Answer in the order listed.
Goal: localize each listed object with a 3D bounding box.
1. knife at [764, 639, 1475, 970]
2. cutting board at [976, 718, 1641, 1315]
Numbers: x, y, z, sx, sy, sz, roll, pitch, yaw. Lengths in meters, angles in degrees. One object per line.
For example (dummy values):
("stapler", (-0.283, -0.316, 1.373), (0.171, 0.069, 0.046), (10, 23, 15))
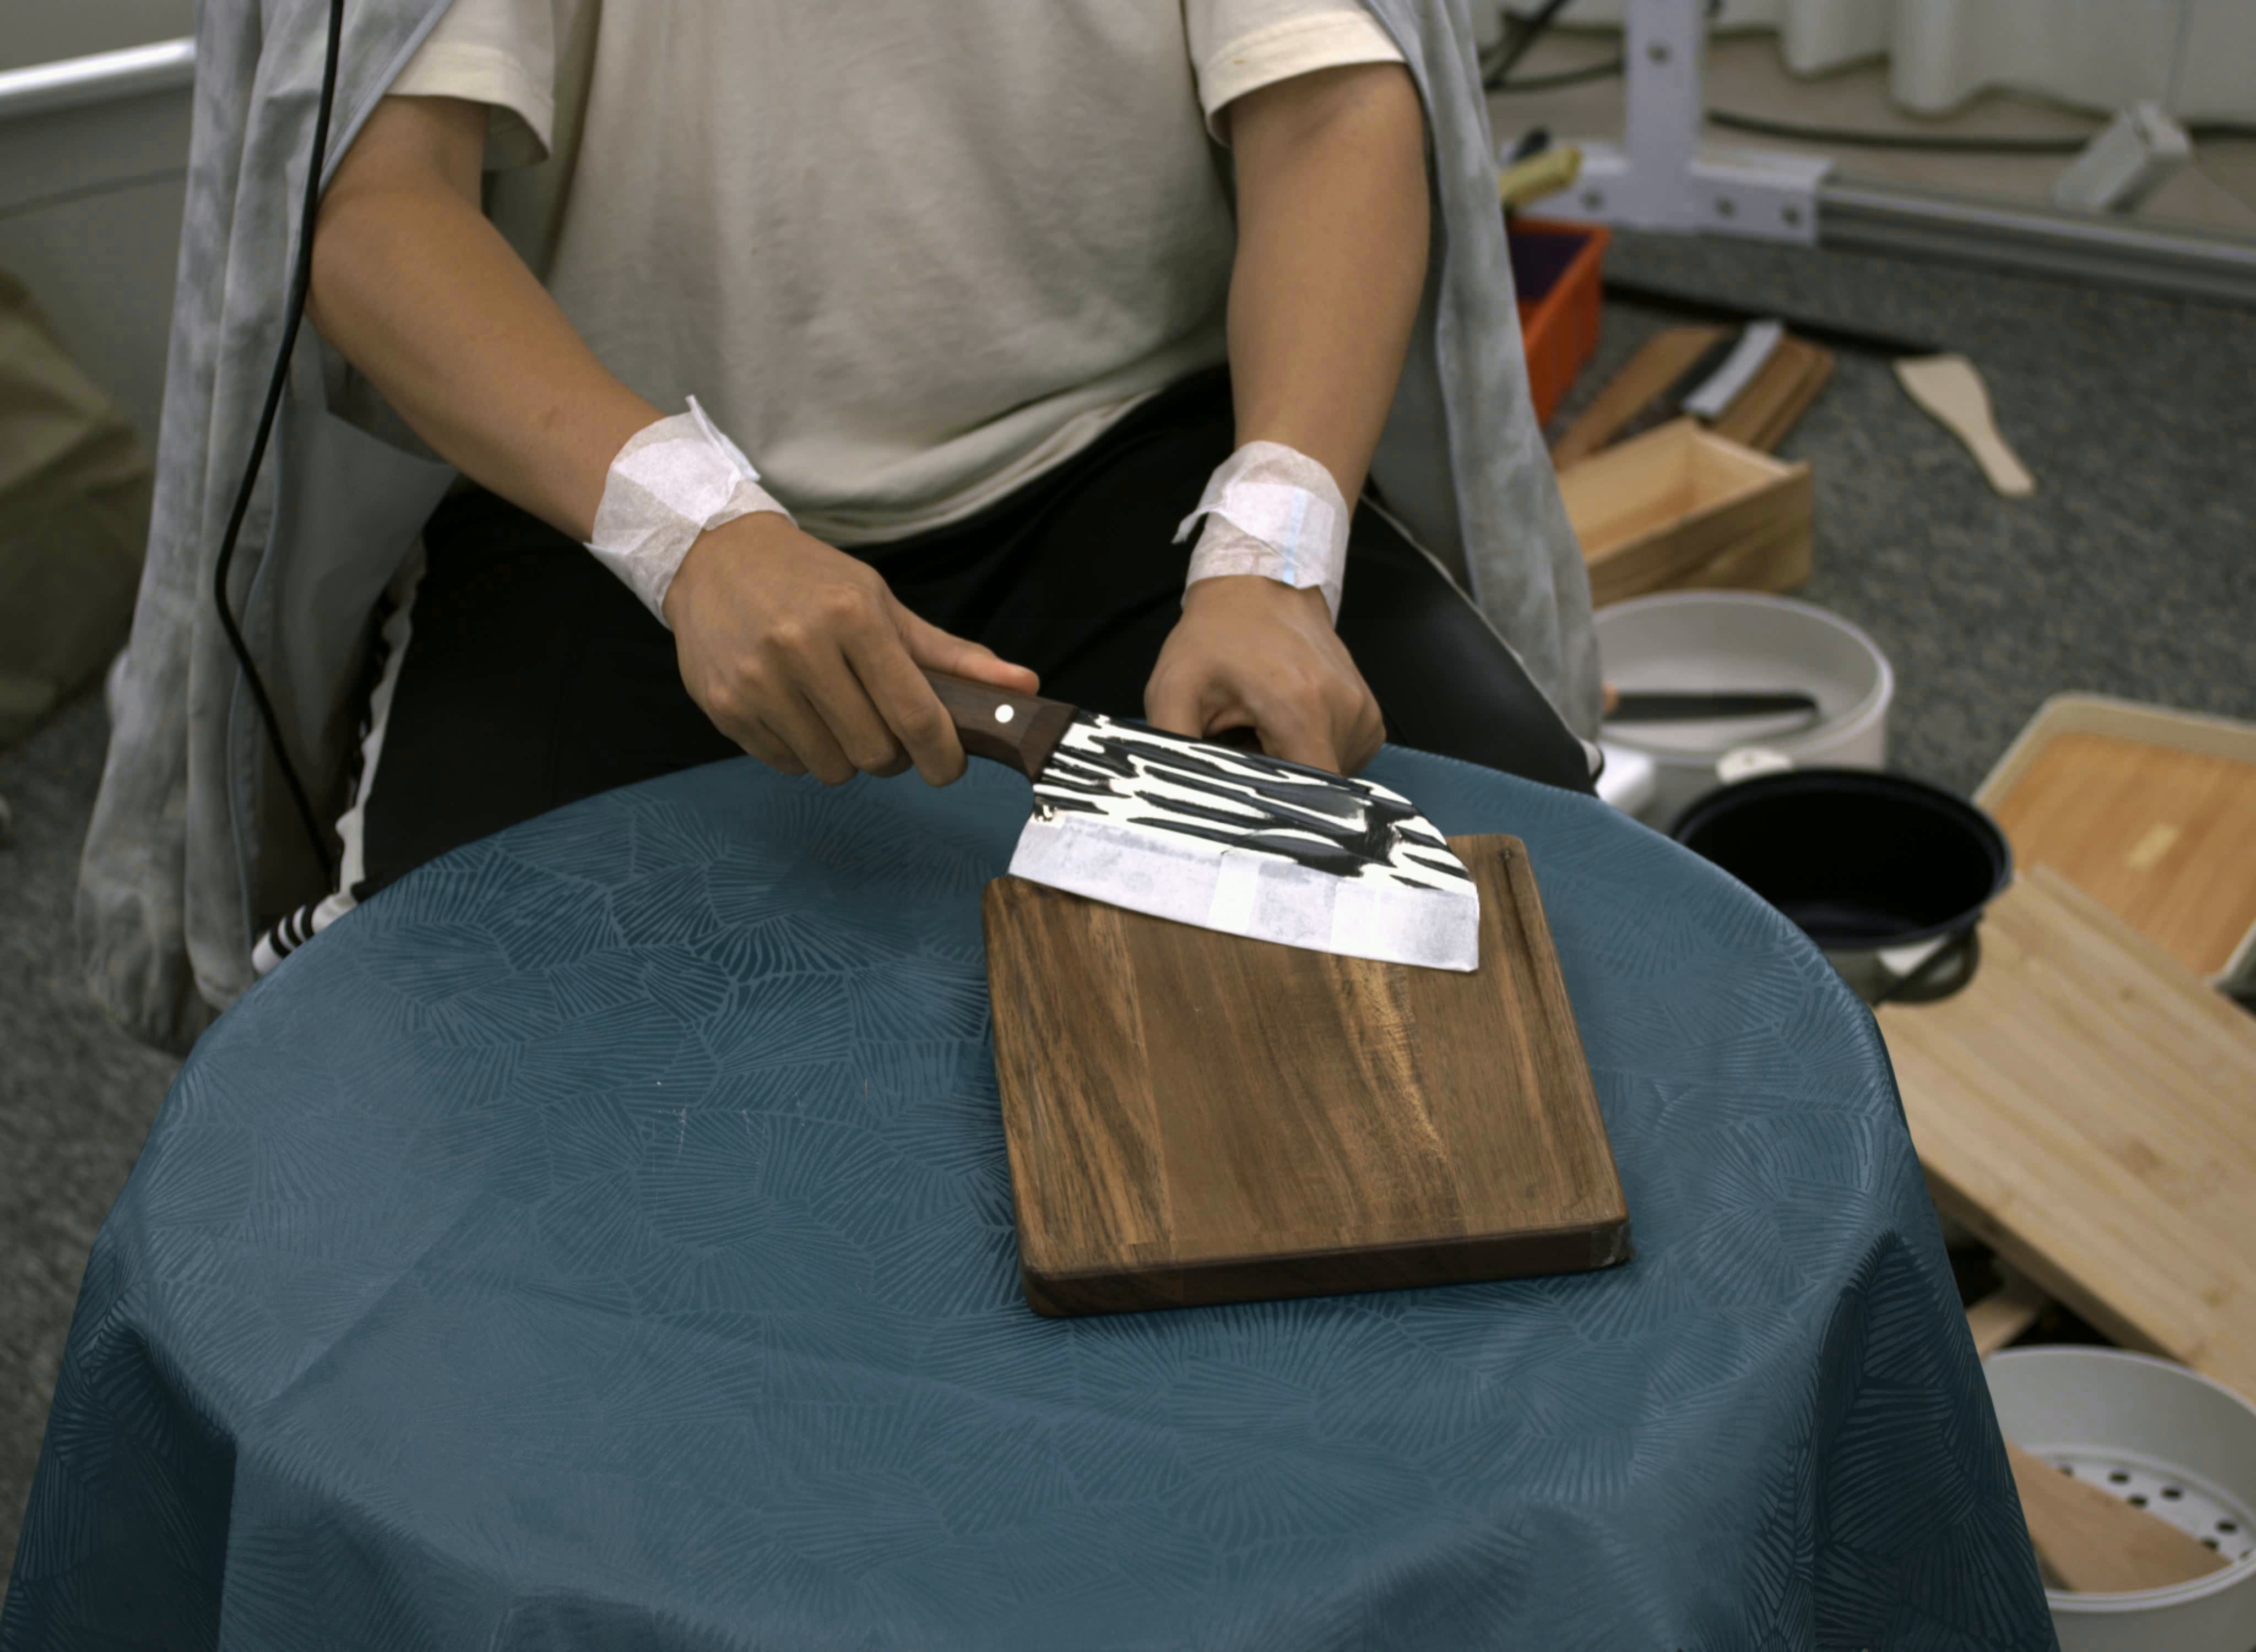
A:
("knife", (-0.007, -0.008, 1.998), (0.298, 0.024, 0.069), (15, 72, 22))
("cutting board", (0.051, 0.055, 1.944), (0.200, 0.023, 0.357), (-5, 29, -3))
